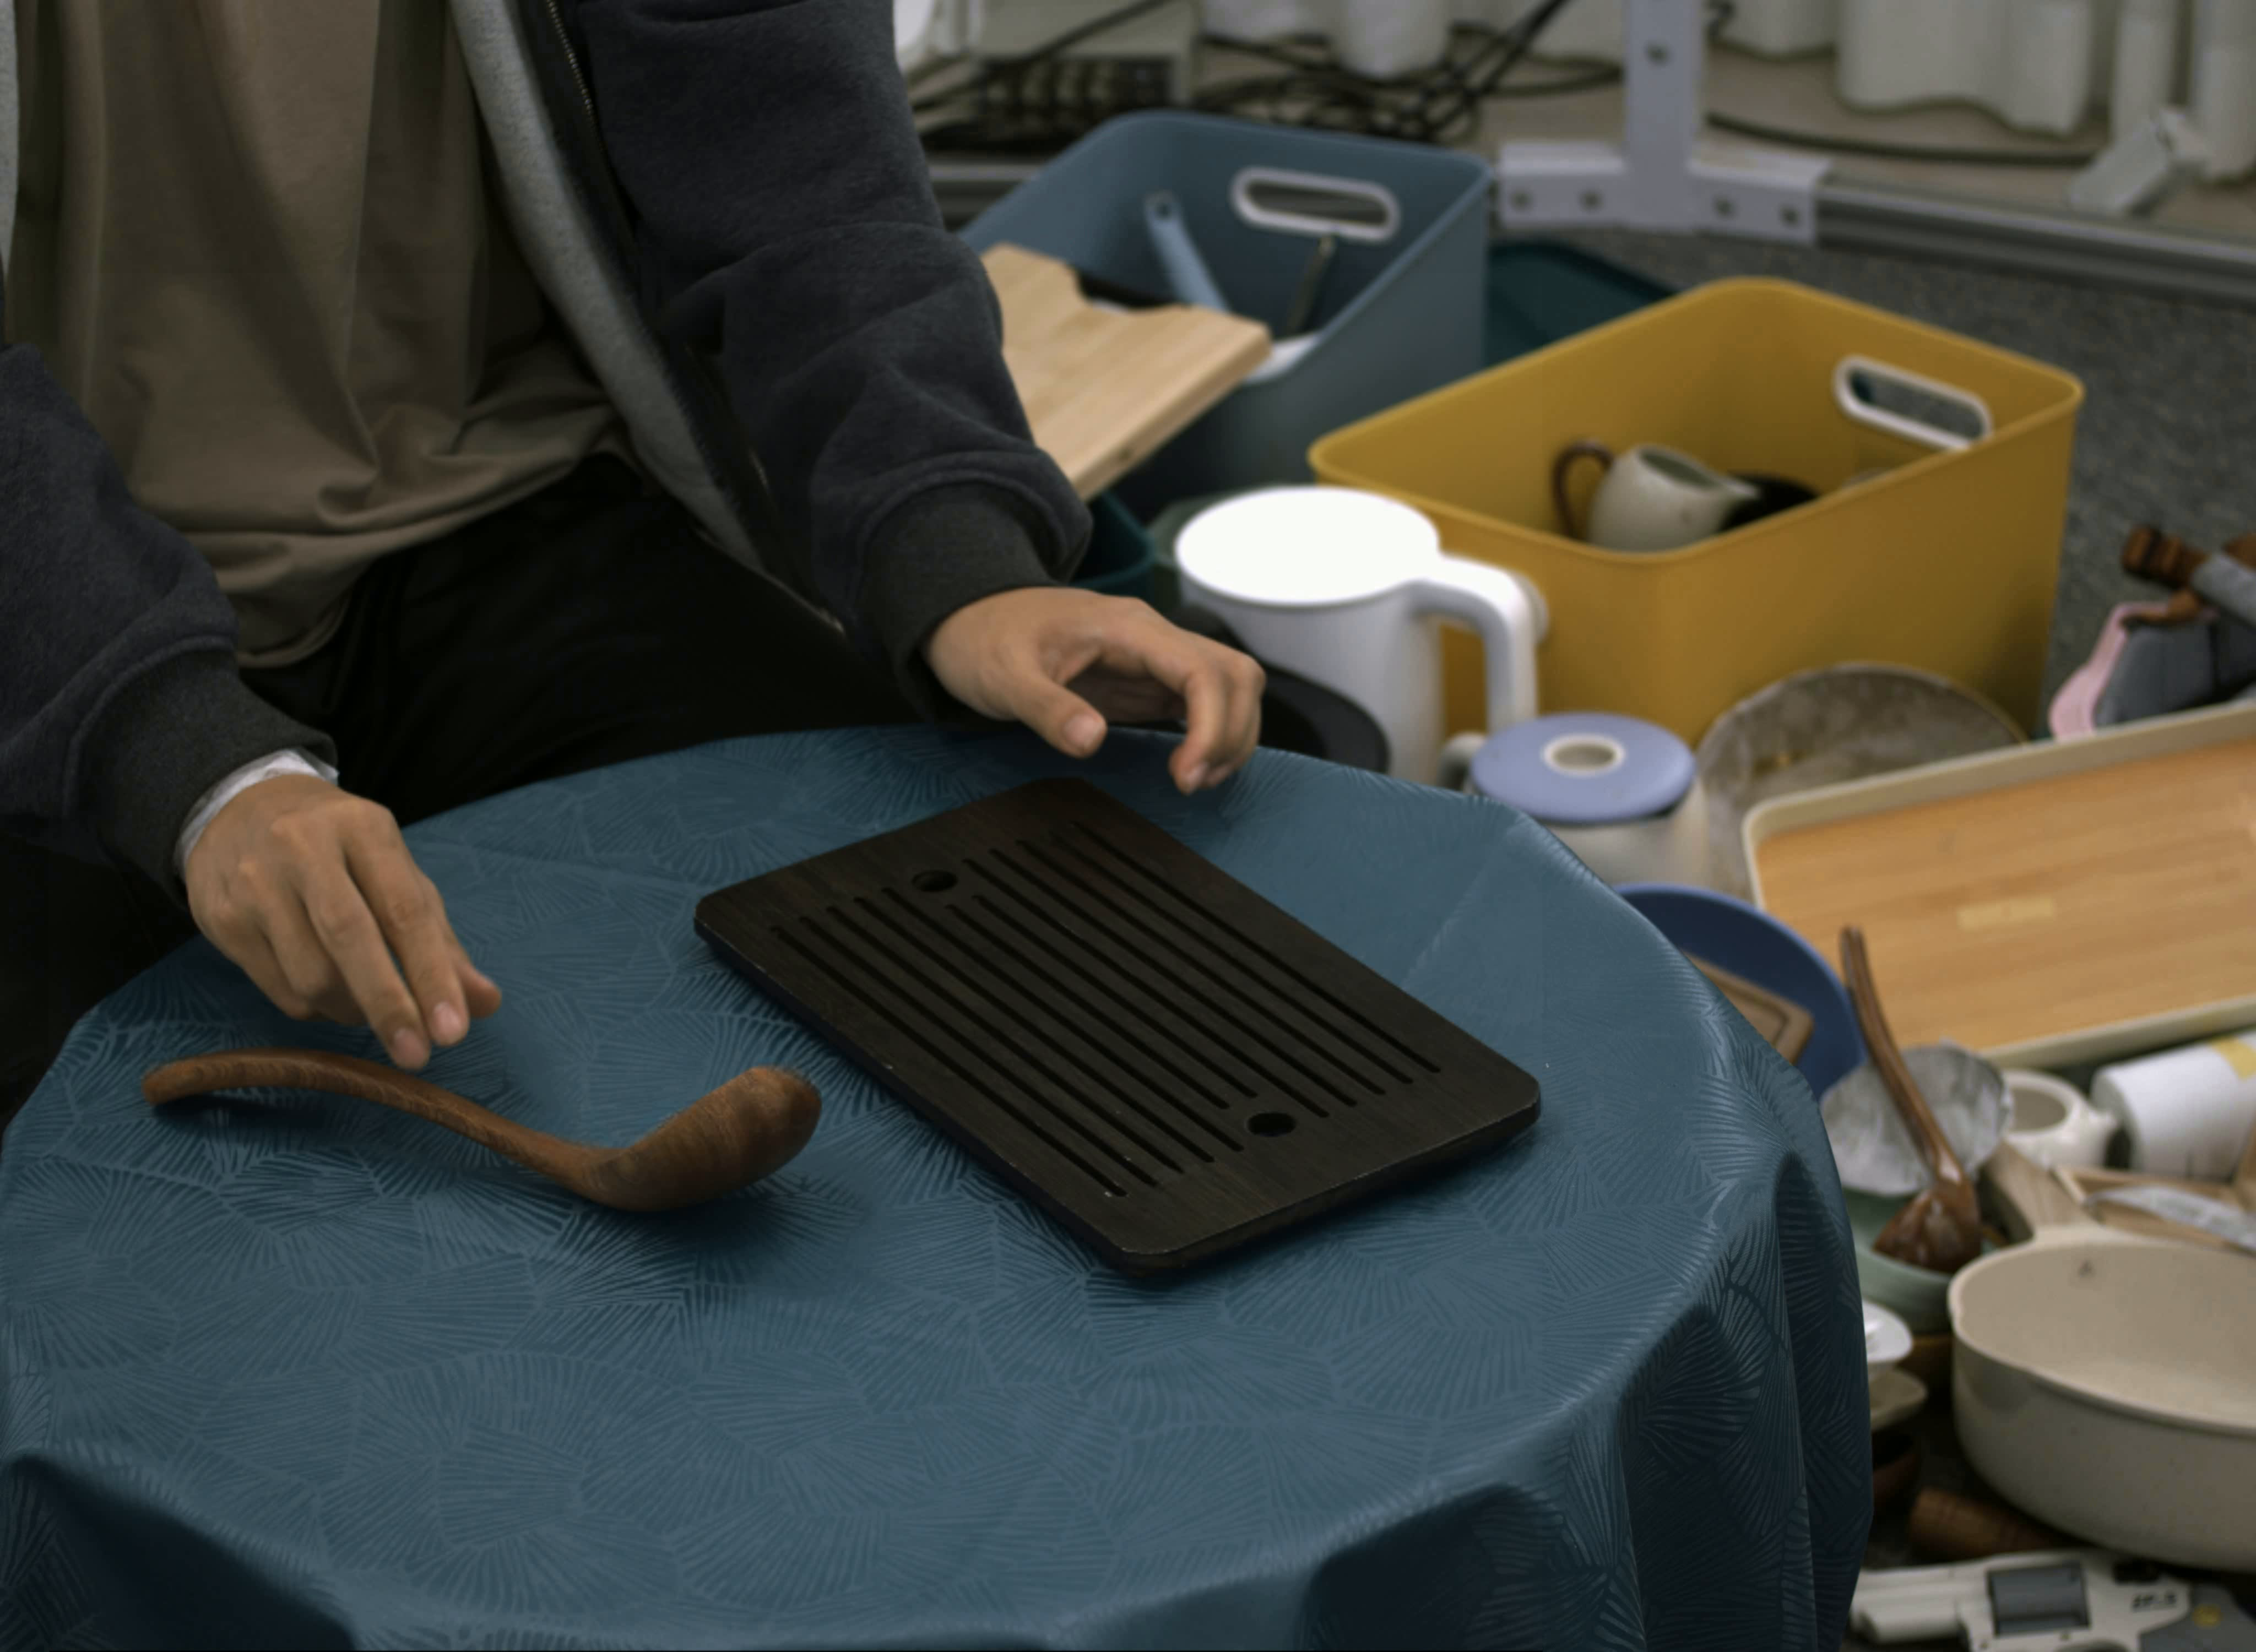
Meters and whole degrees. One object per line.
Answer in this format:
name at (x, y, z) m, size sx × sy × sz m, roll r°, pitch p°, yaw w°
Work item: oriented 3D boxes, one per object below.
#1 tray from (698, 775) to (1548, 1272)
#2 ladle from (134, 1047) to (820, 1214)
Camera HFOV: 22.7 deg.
tray at (-0.007, 0.065, 1.953) m, size 0.171 × 0.018 × 0.307 m, roll -19°, pitch 31°, yaw -28°
ladle at (-0.222, 0.085, 1.886) m, size 0.258 × 0.065 × 0.077 m, roll 10°, pitch 5°, yaw 25°
